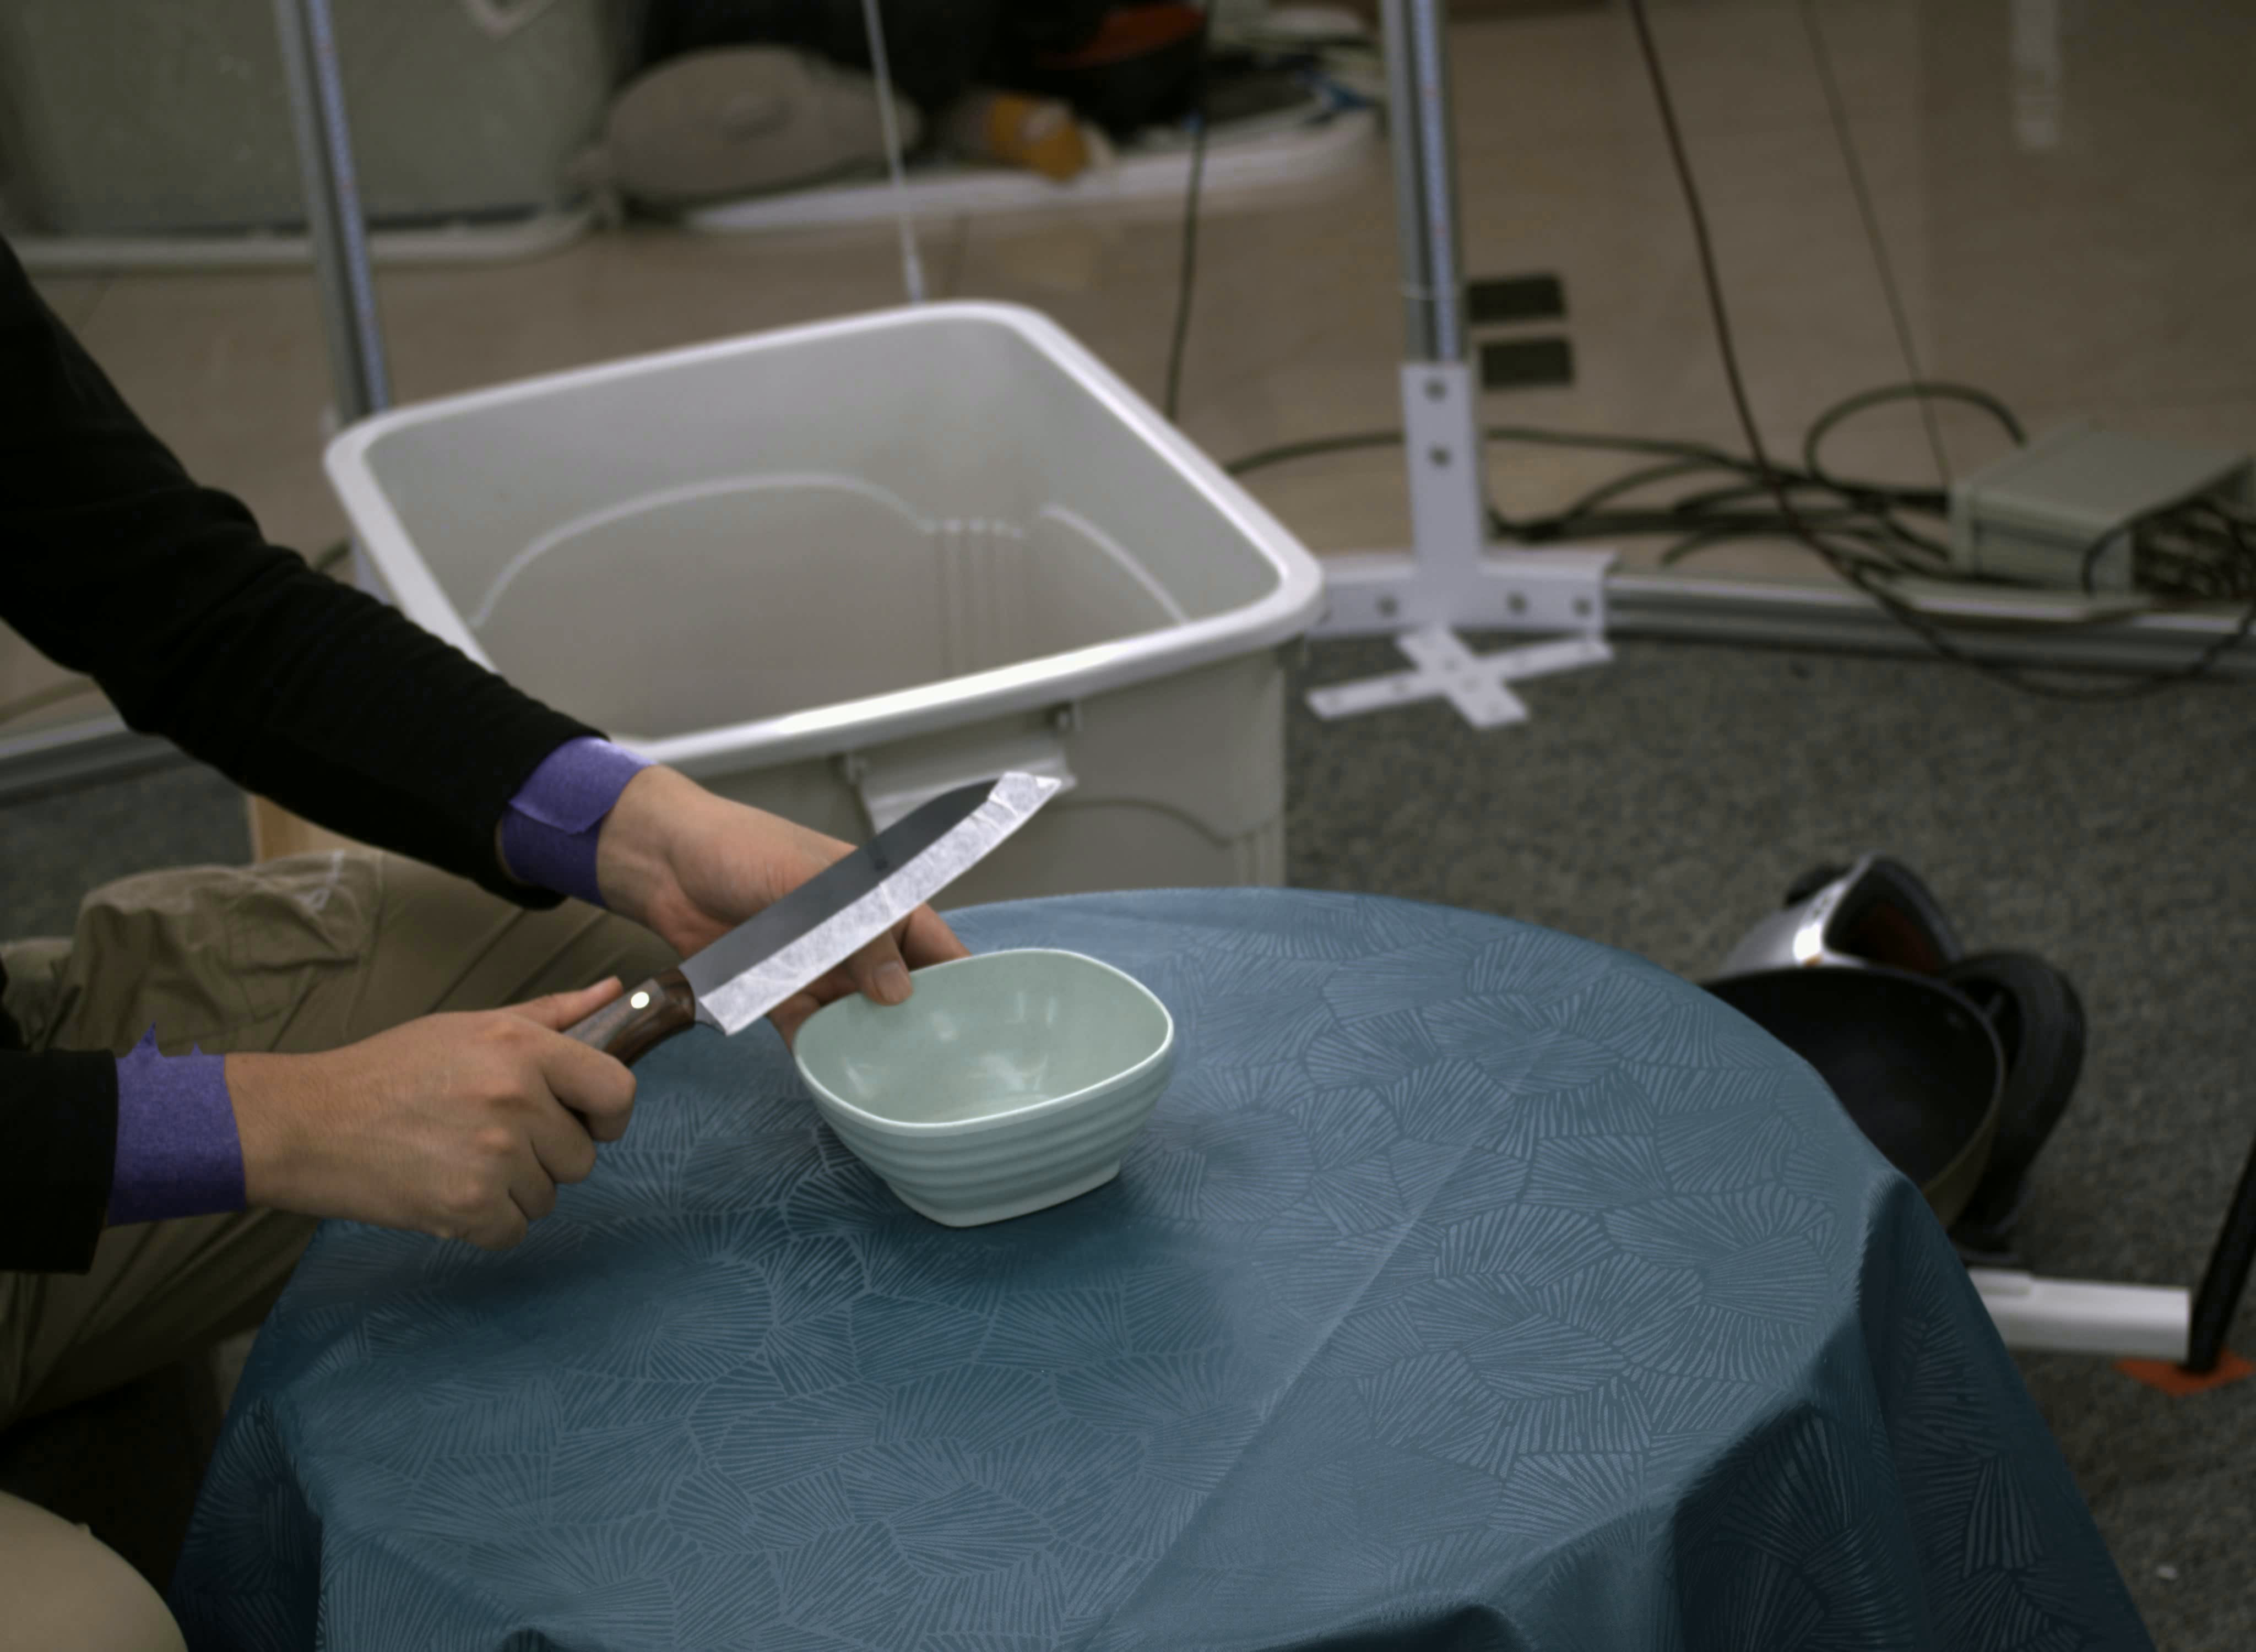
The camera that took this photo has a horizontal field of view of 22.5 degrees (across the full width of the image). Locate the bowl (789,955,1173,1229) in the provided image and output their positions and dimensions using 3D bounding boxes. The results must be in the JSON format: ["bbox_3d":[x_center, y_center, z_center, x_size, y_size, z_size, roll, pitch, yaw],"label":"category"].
[{"bbox_3d":[-0.054,0.107,2.166,0.151,0.059,0.149,-4,24,2],"label":"bowl"}]

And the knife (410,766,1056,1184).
[{"bbox_3d":[-0.147,0.053,2.156,0.287,0.020,0.049,-32,51,-14],"label":"knife"}]
